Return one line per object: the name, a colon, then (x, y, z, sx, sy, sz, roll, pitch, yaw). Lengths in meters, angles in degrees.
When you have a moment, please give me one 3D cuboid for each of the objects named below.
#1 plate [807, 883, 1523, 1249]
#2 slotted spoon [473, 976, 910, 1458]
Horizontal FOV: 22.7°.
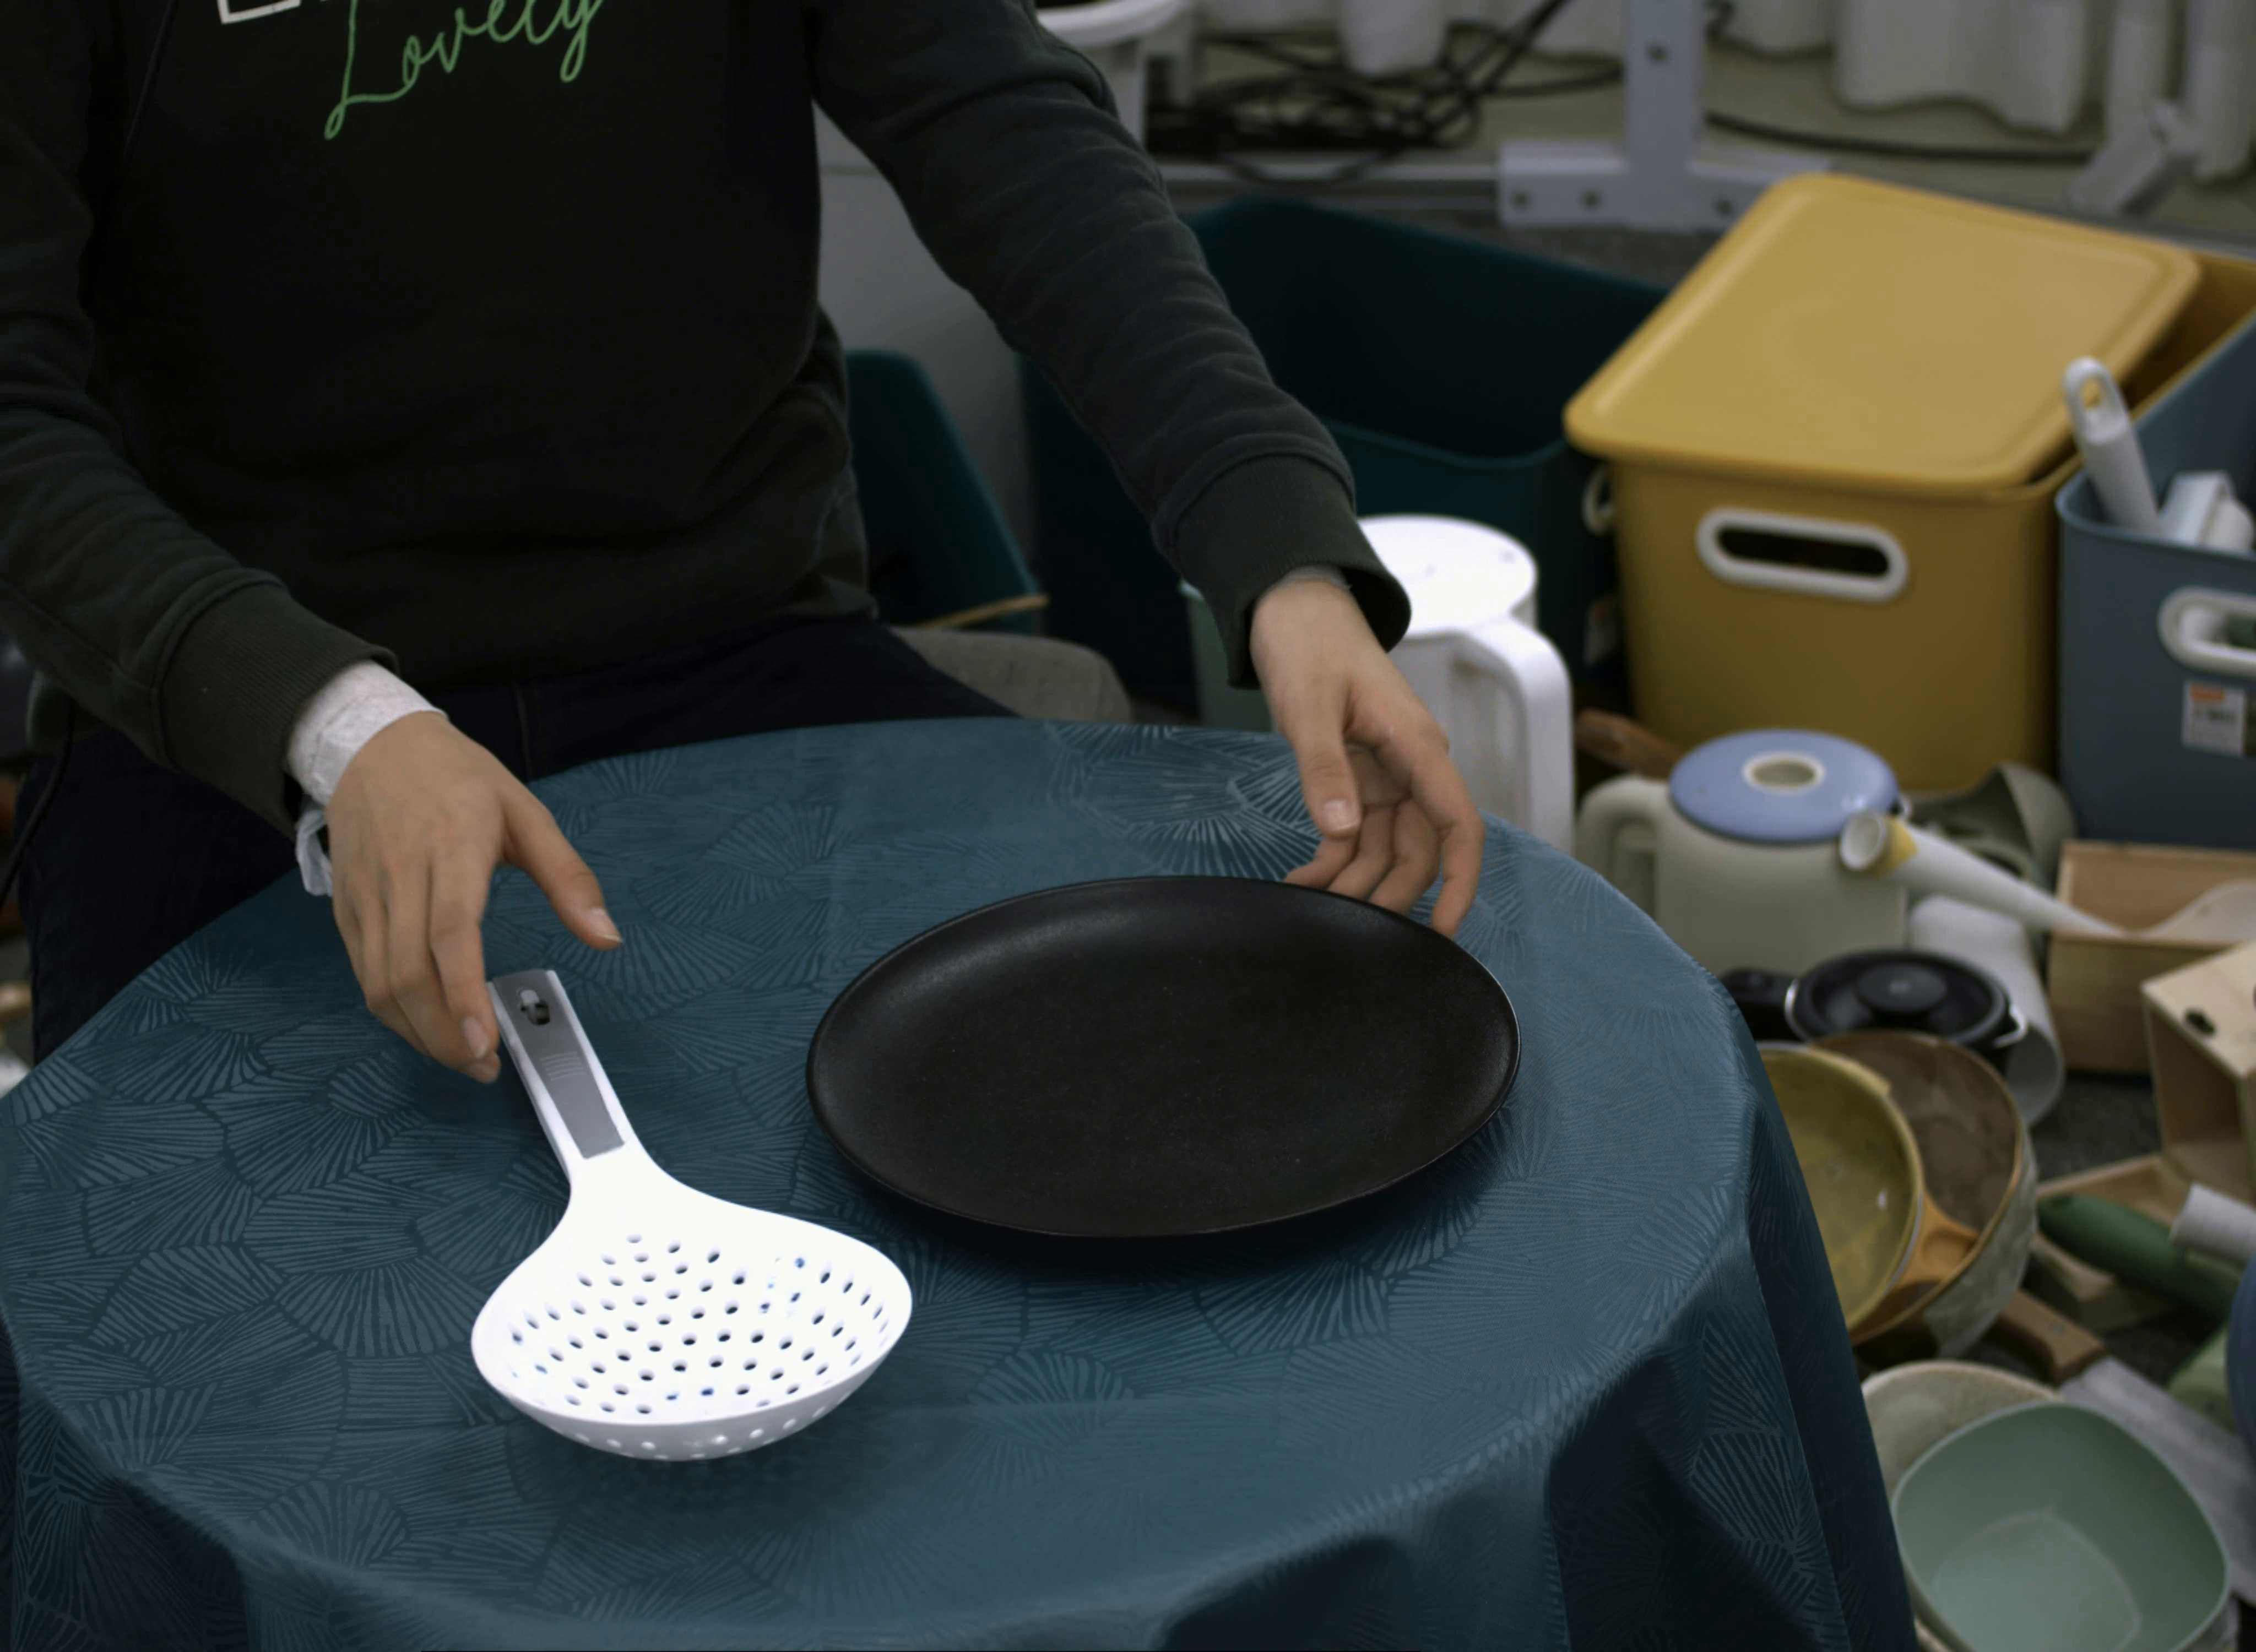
plate: (0.013, 0.085, 1.906, 0.243, 0.023, 0.248, -2, 27, 2)
slotted spoon: (-0.165, 0.121, 1.830, 0.136, 0.045, 0.353, -8, 27, -14)
